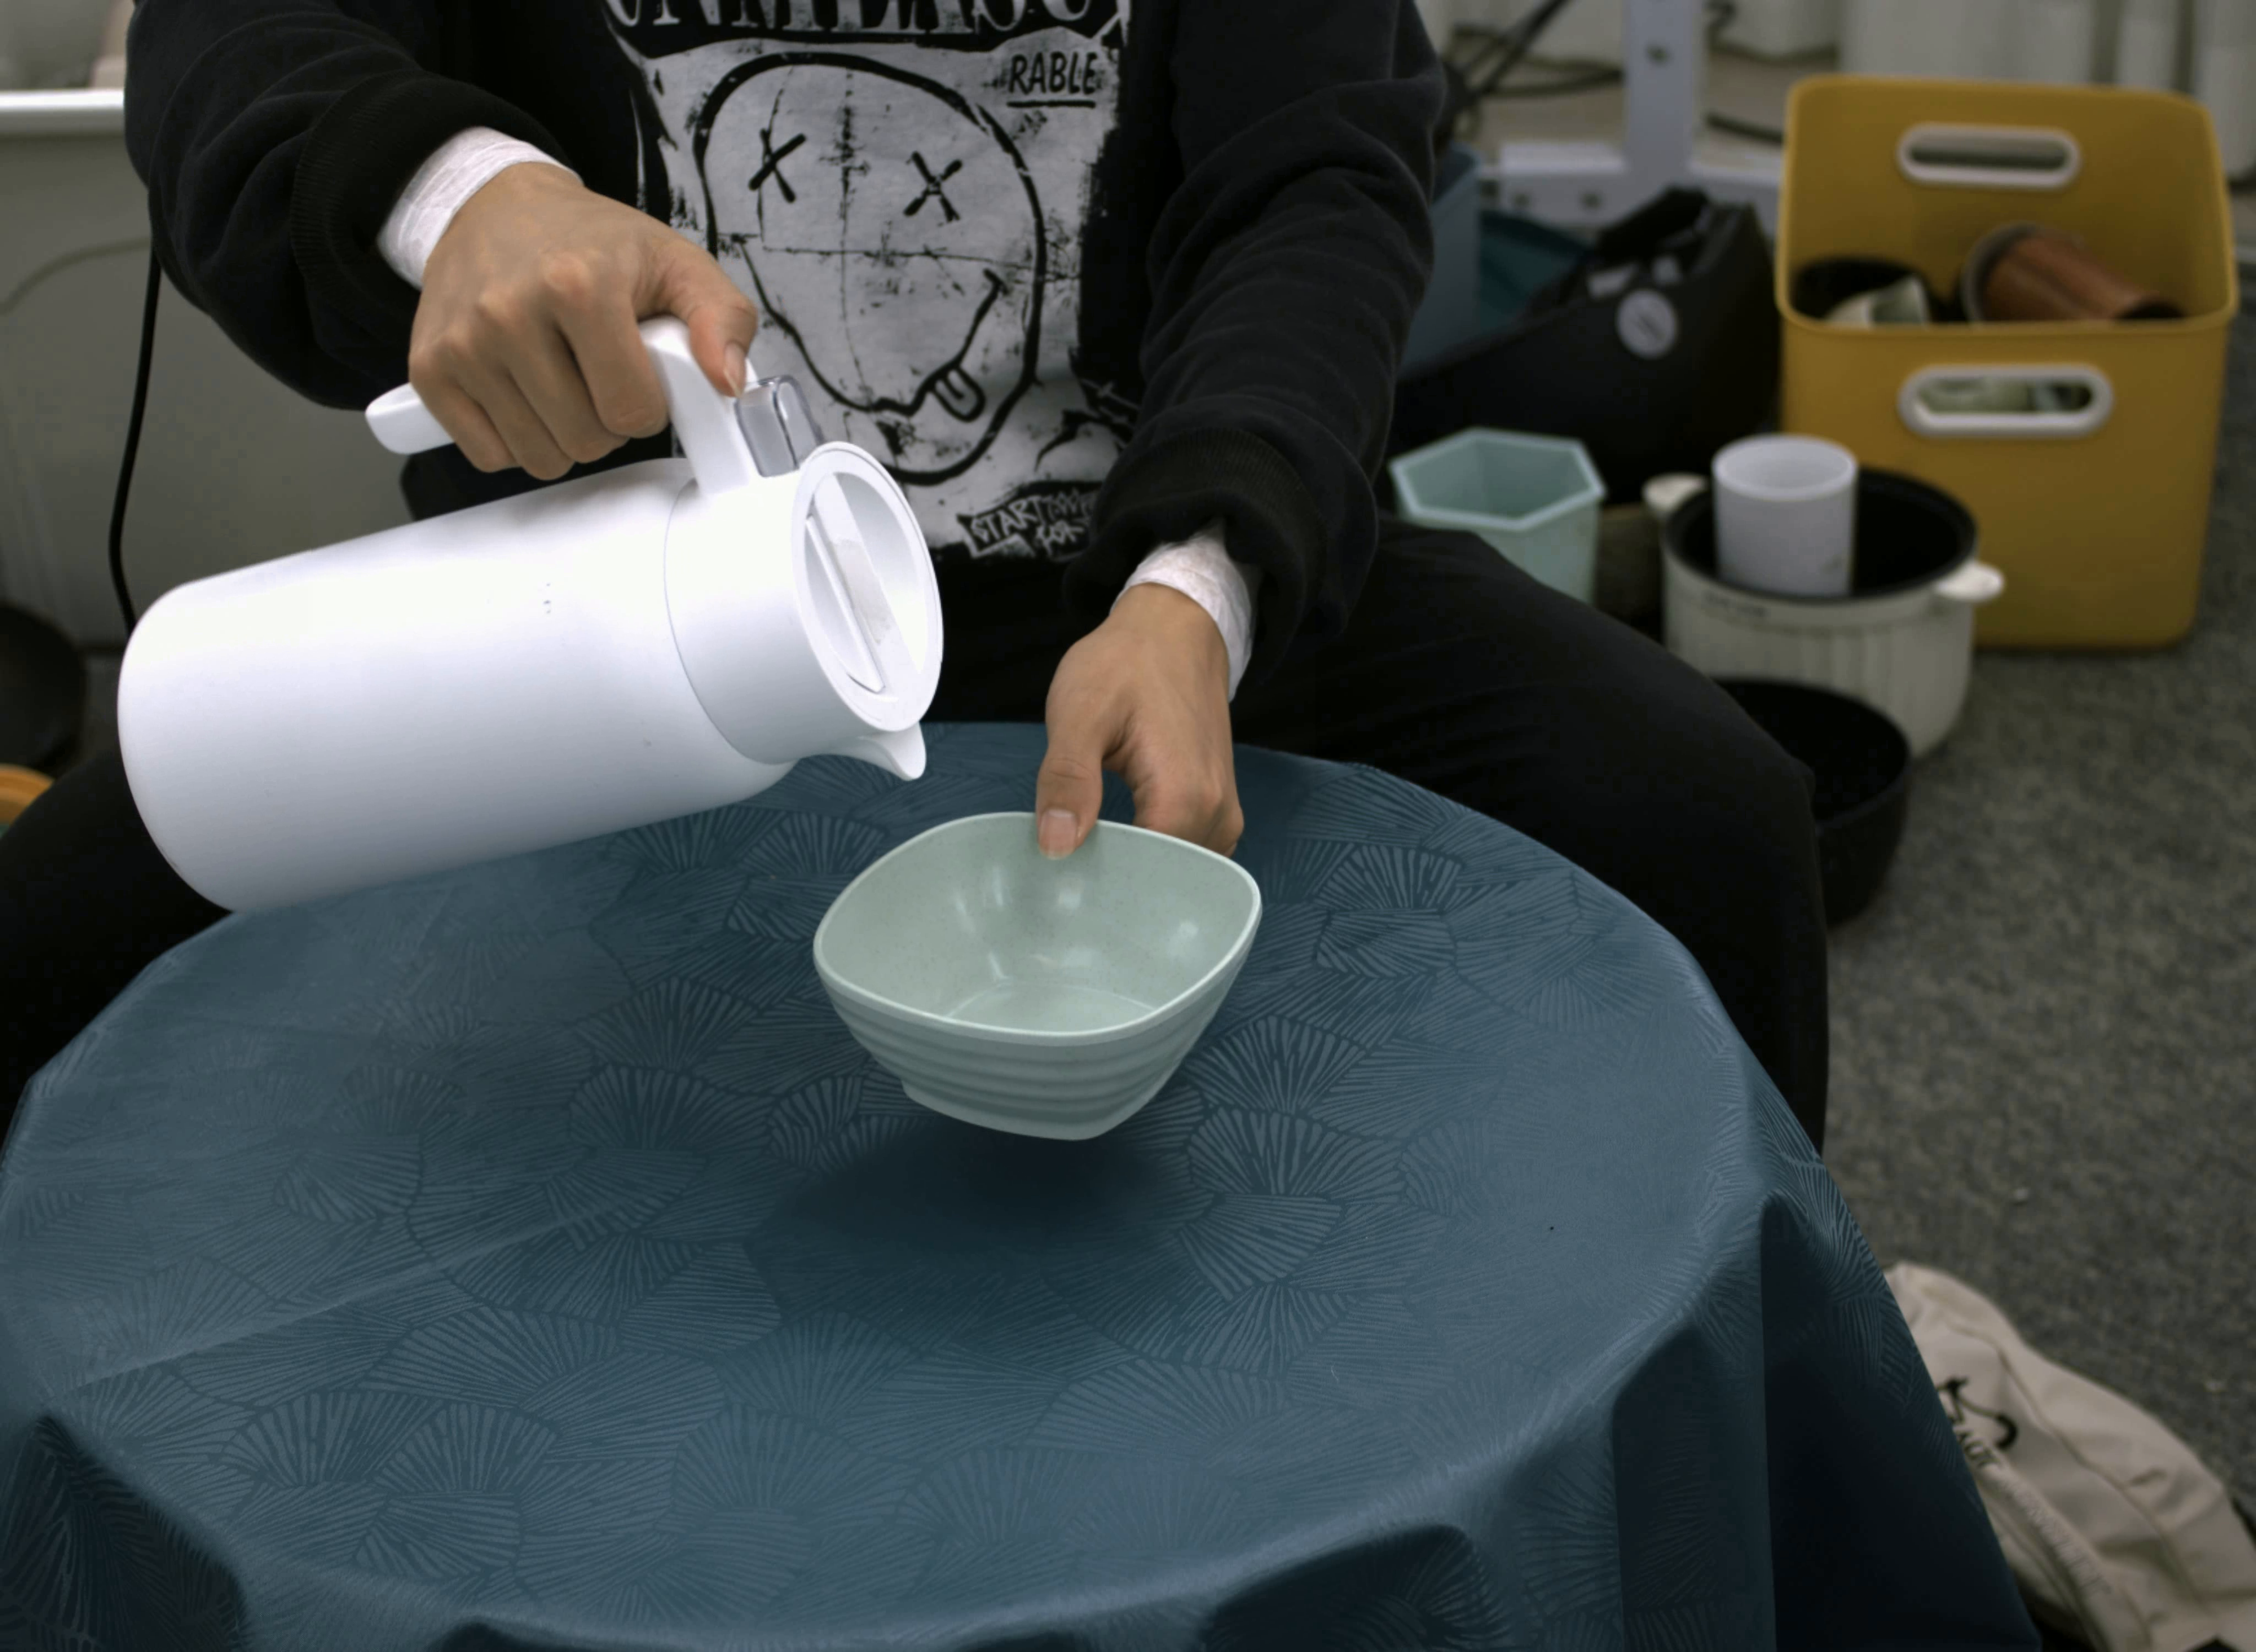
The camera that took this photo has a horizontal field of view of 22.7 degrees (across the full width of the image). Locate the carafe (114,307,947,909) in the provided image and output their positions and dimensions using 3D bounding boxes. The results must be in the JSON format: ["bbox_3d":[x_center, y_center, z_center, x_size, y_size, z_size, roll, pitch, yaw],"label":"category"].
[{"bbox_3d":[-0.205,-0.067,1.866,0.266,0.172,0.126,-12,21,26],"label":"carafe"}]

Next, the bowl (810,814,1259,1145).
[{"bbox_3d":[-0.030,0.057,1.856,0.151,0.058,0.154,-1,28,1],"label":"bowl"}]
